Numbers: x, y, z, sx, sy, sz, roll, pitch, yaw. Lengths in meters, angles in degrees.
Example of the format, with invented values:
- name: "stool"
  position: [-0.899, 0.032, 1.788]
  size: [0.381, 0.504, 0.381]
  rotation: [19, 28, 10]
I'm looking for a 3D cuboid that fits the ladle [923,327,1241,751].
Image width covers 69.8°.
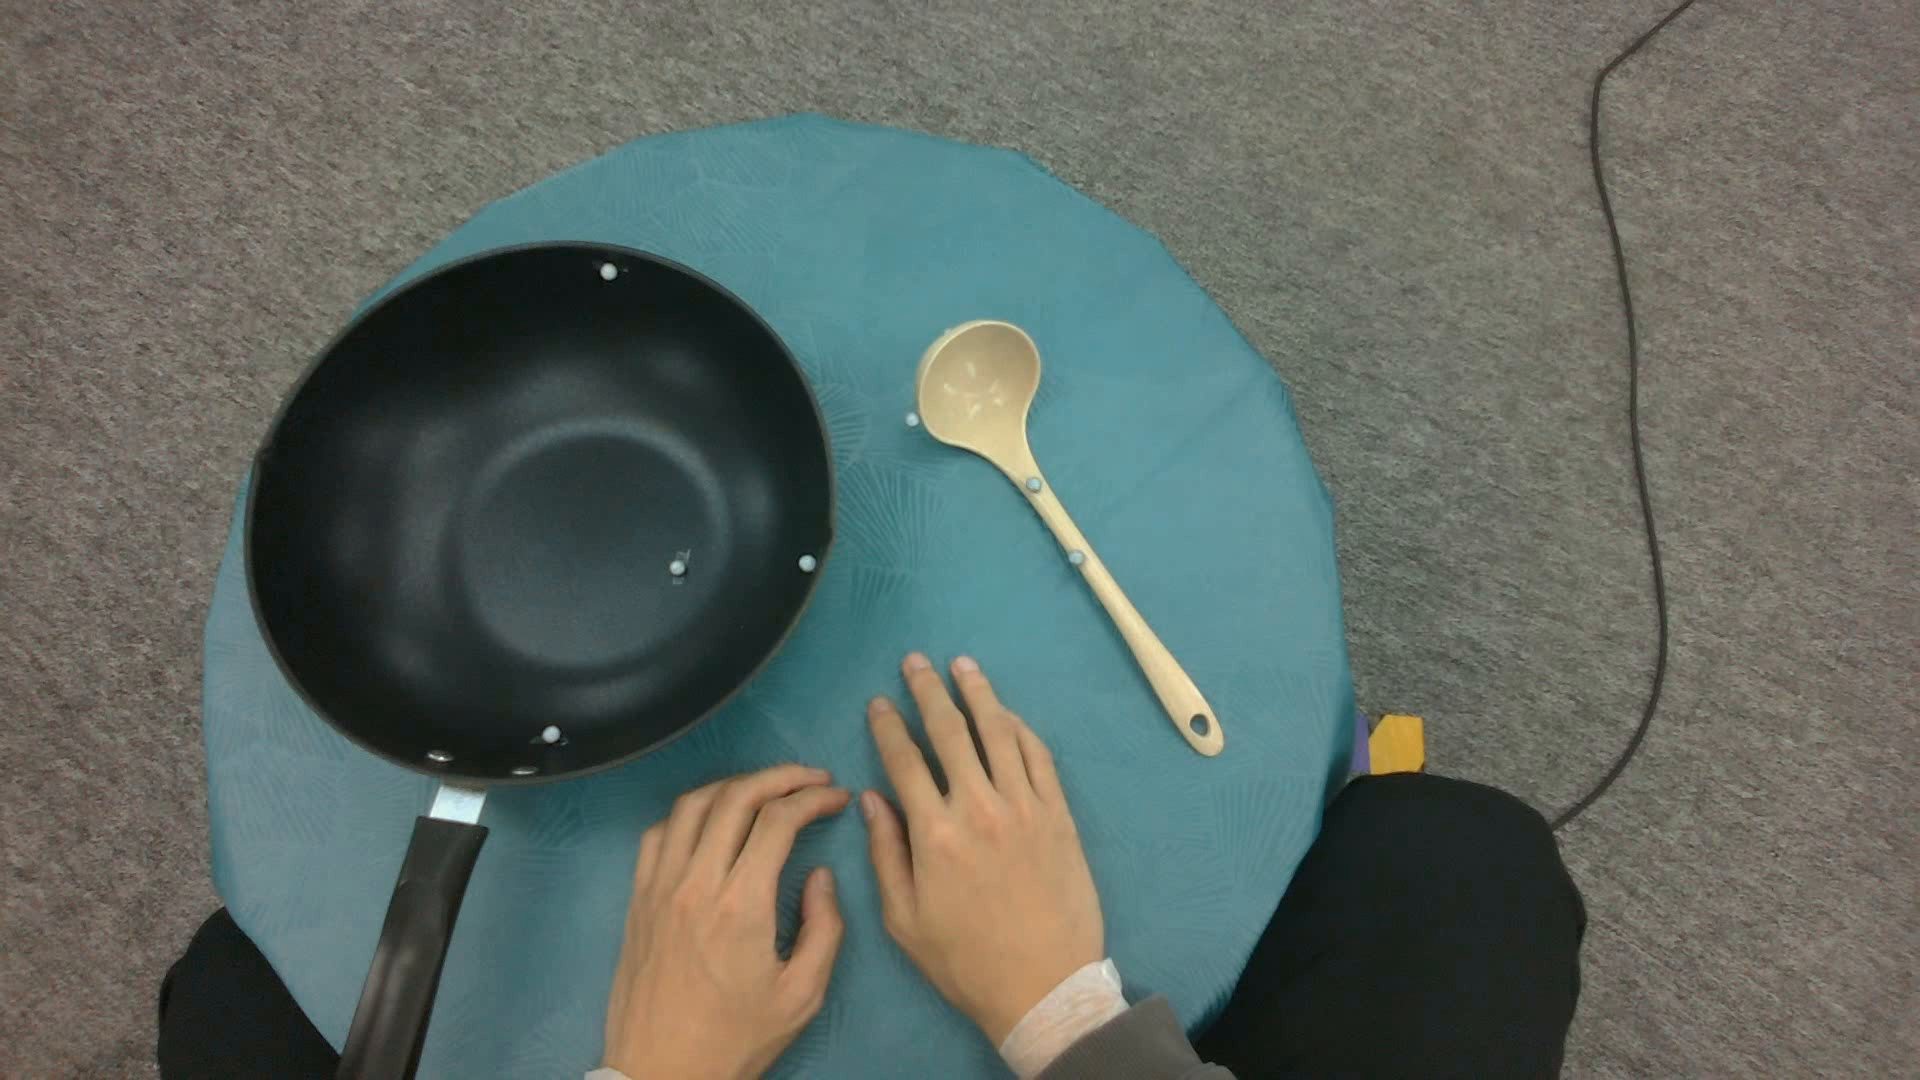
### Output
- name: "ladle"
  position: [0.070, -0.004, 0.710]
  size: [0.072, 0.072, 0.255]
  rotation: [-32, 72, -14]

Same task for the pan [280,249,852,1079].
- name: "pan"
  position: [-0.210, 0.078, 0.686]
  size: [0.288, 0.086, 0.464]
  rotation: [9, 72, 5]
